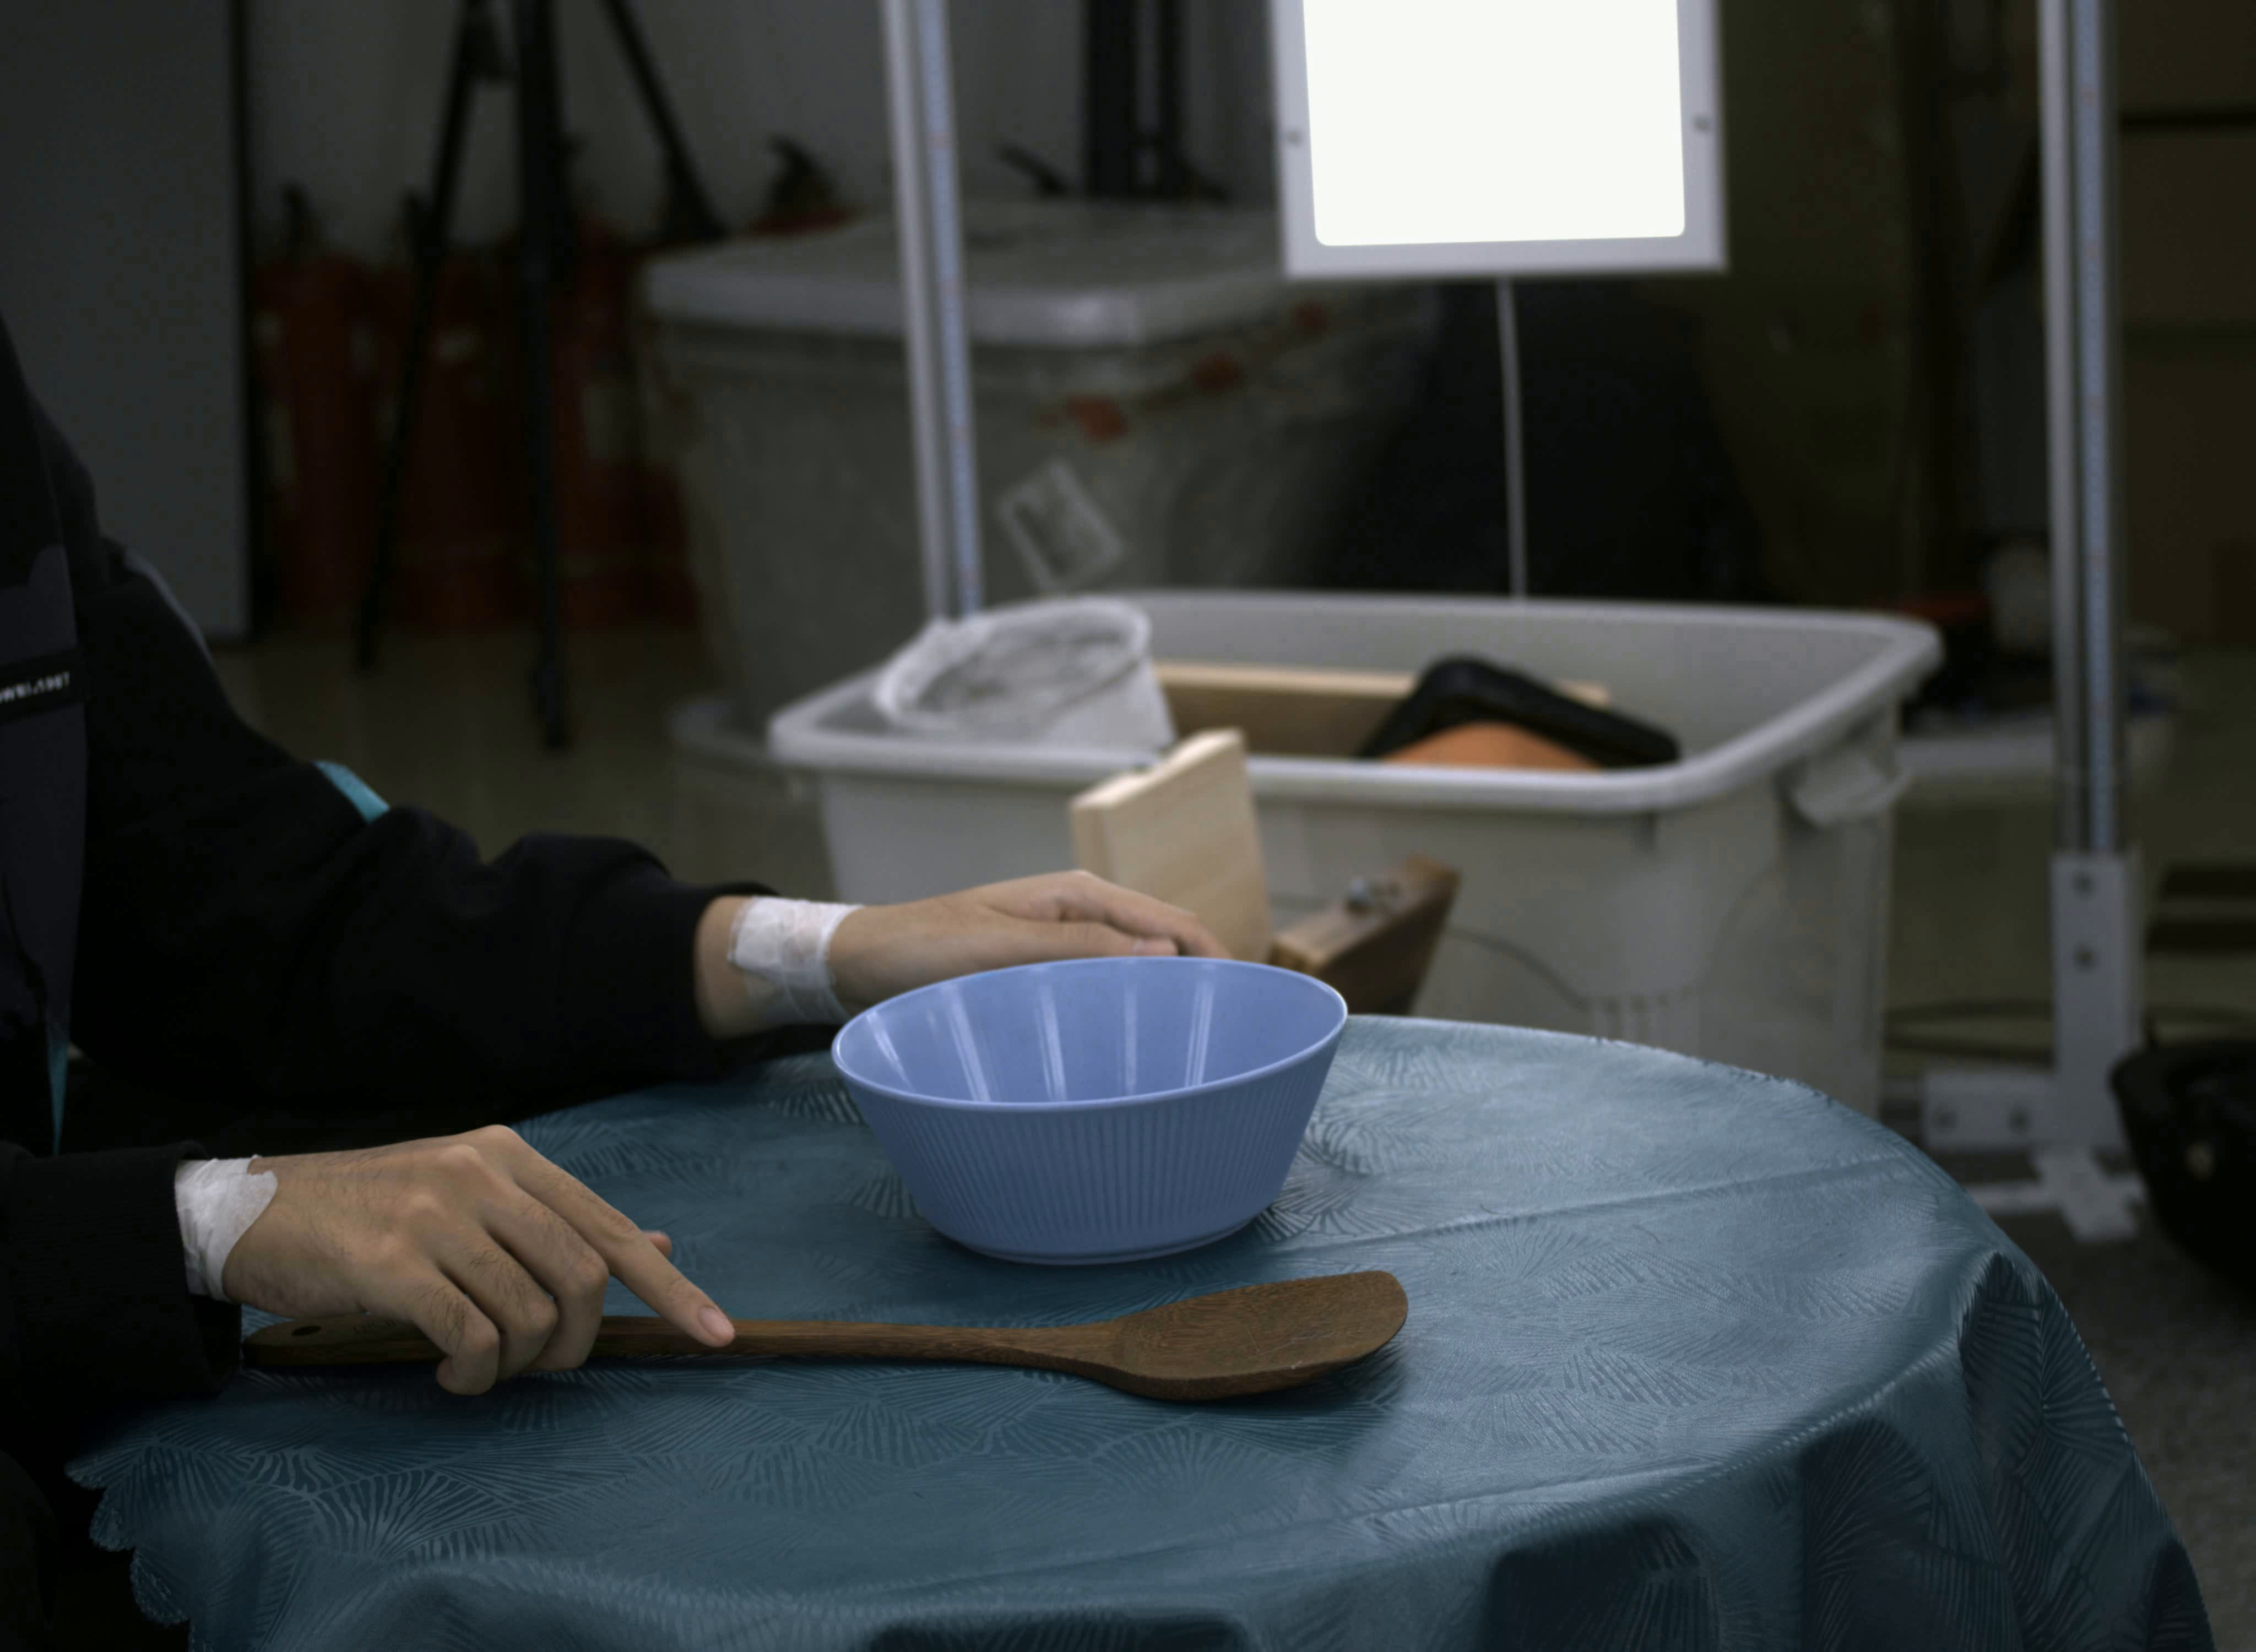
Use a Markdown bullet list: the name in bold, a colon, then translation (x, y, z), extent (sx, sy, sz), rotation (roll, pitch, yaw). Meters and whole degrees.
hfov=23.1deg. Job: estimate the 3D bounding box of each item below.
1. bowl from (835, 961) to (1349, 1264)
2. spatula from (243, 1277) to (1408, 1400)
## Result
- **bowl**: translation (-0.009, 0.099, 1.866), extent (0.175, 0.070, 0.176), rotation (-6, 13, 0)
- **spatula**: translation (-0.101, 0.163, 1.756), extent (0.389, 0.016, 0.095), rotation (-1, 14, 15)
